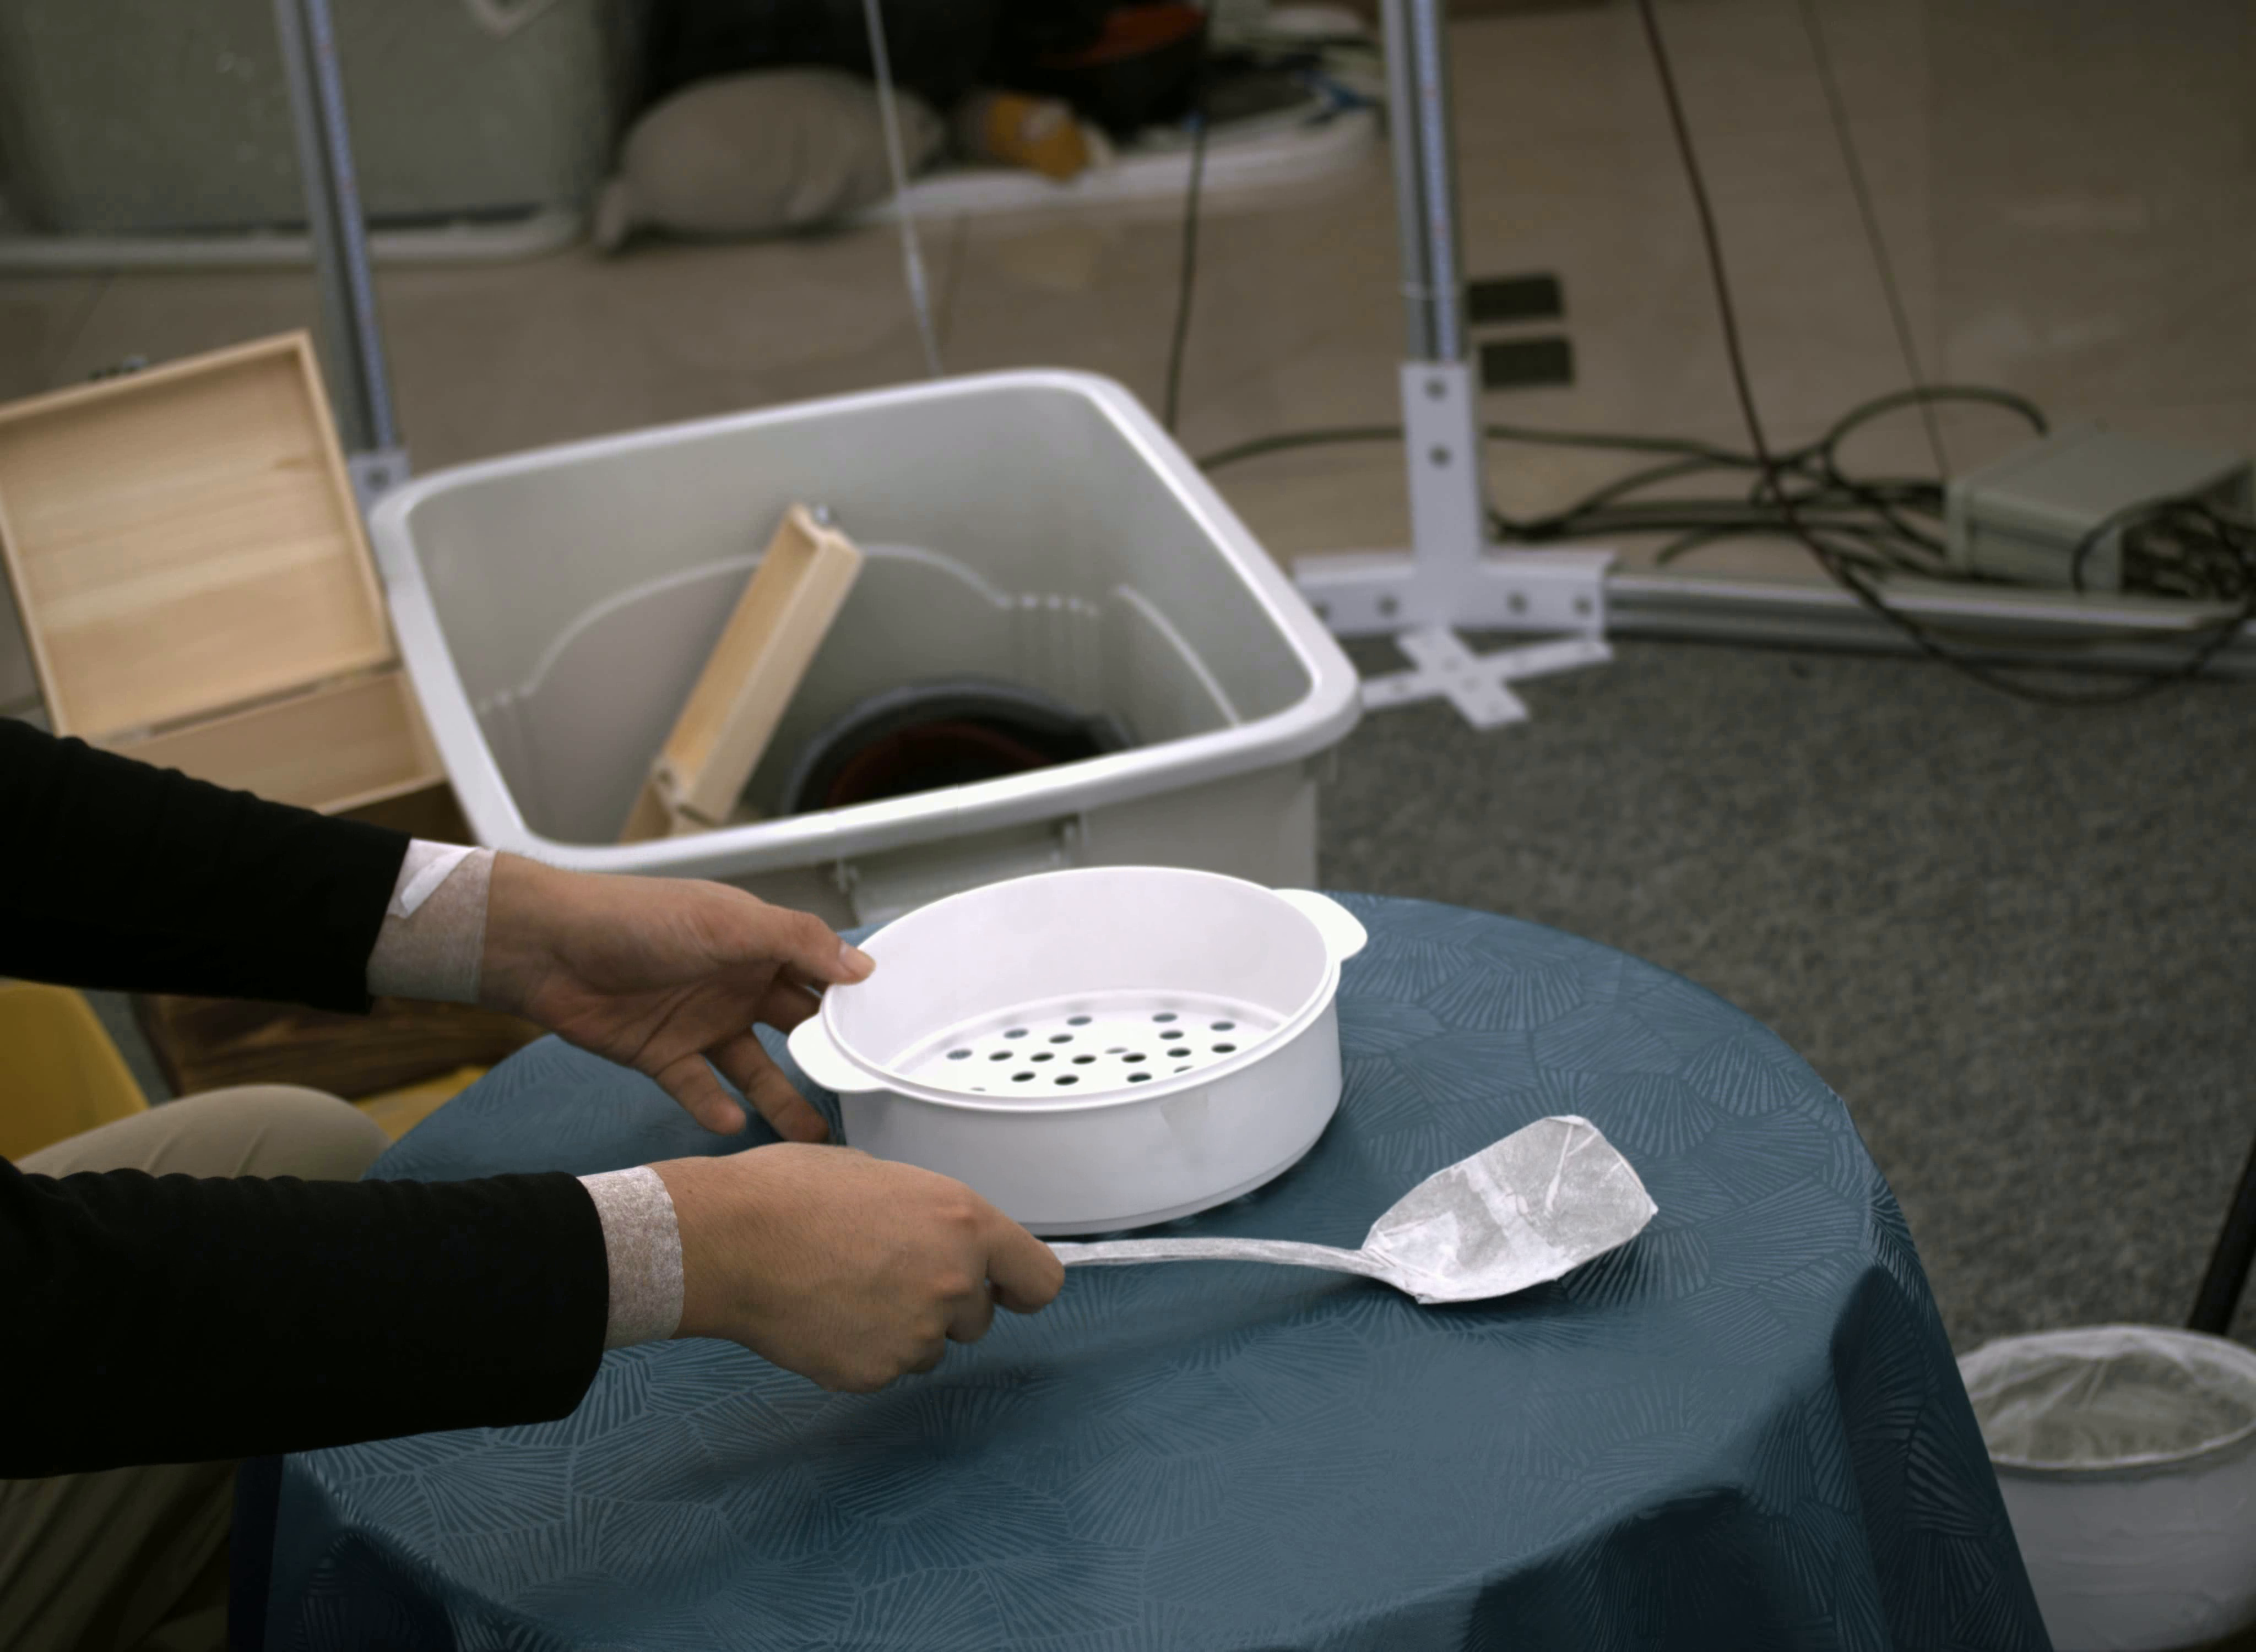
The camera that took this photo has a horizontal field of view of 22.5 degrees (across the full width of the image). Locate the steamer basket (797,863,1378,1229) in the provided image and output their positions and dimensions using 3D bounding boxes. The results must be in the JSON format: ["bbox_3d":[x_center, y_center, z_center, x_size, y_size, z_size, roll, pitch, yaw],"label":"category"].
[{"bbox_3d":[-0.011,0.085,2.182,0.230,0.070,0.199,-16,25,-17],"label":"steamer basket"}]

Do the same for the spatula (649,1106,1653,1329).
[{"bbox_3d":[0.009,0.149,2.041,0.364,0.045,0.097,-3,27,-14],"label":"spatula"}]
